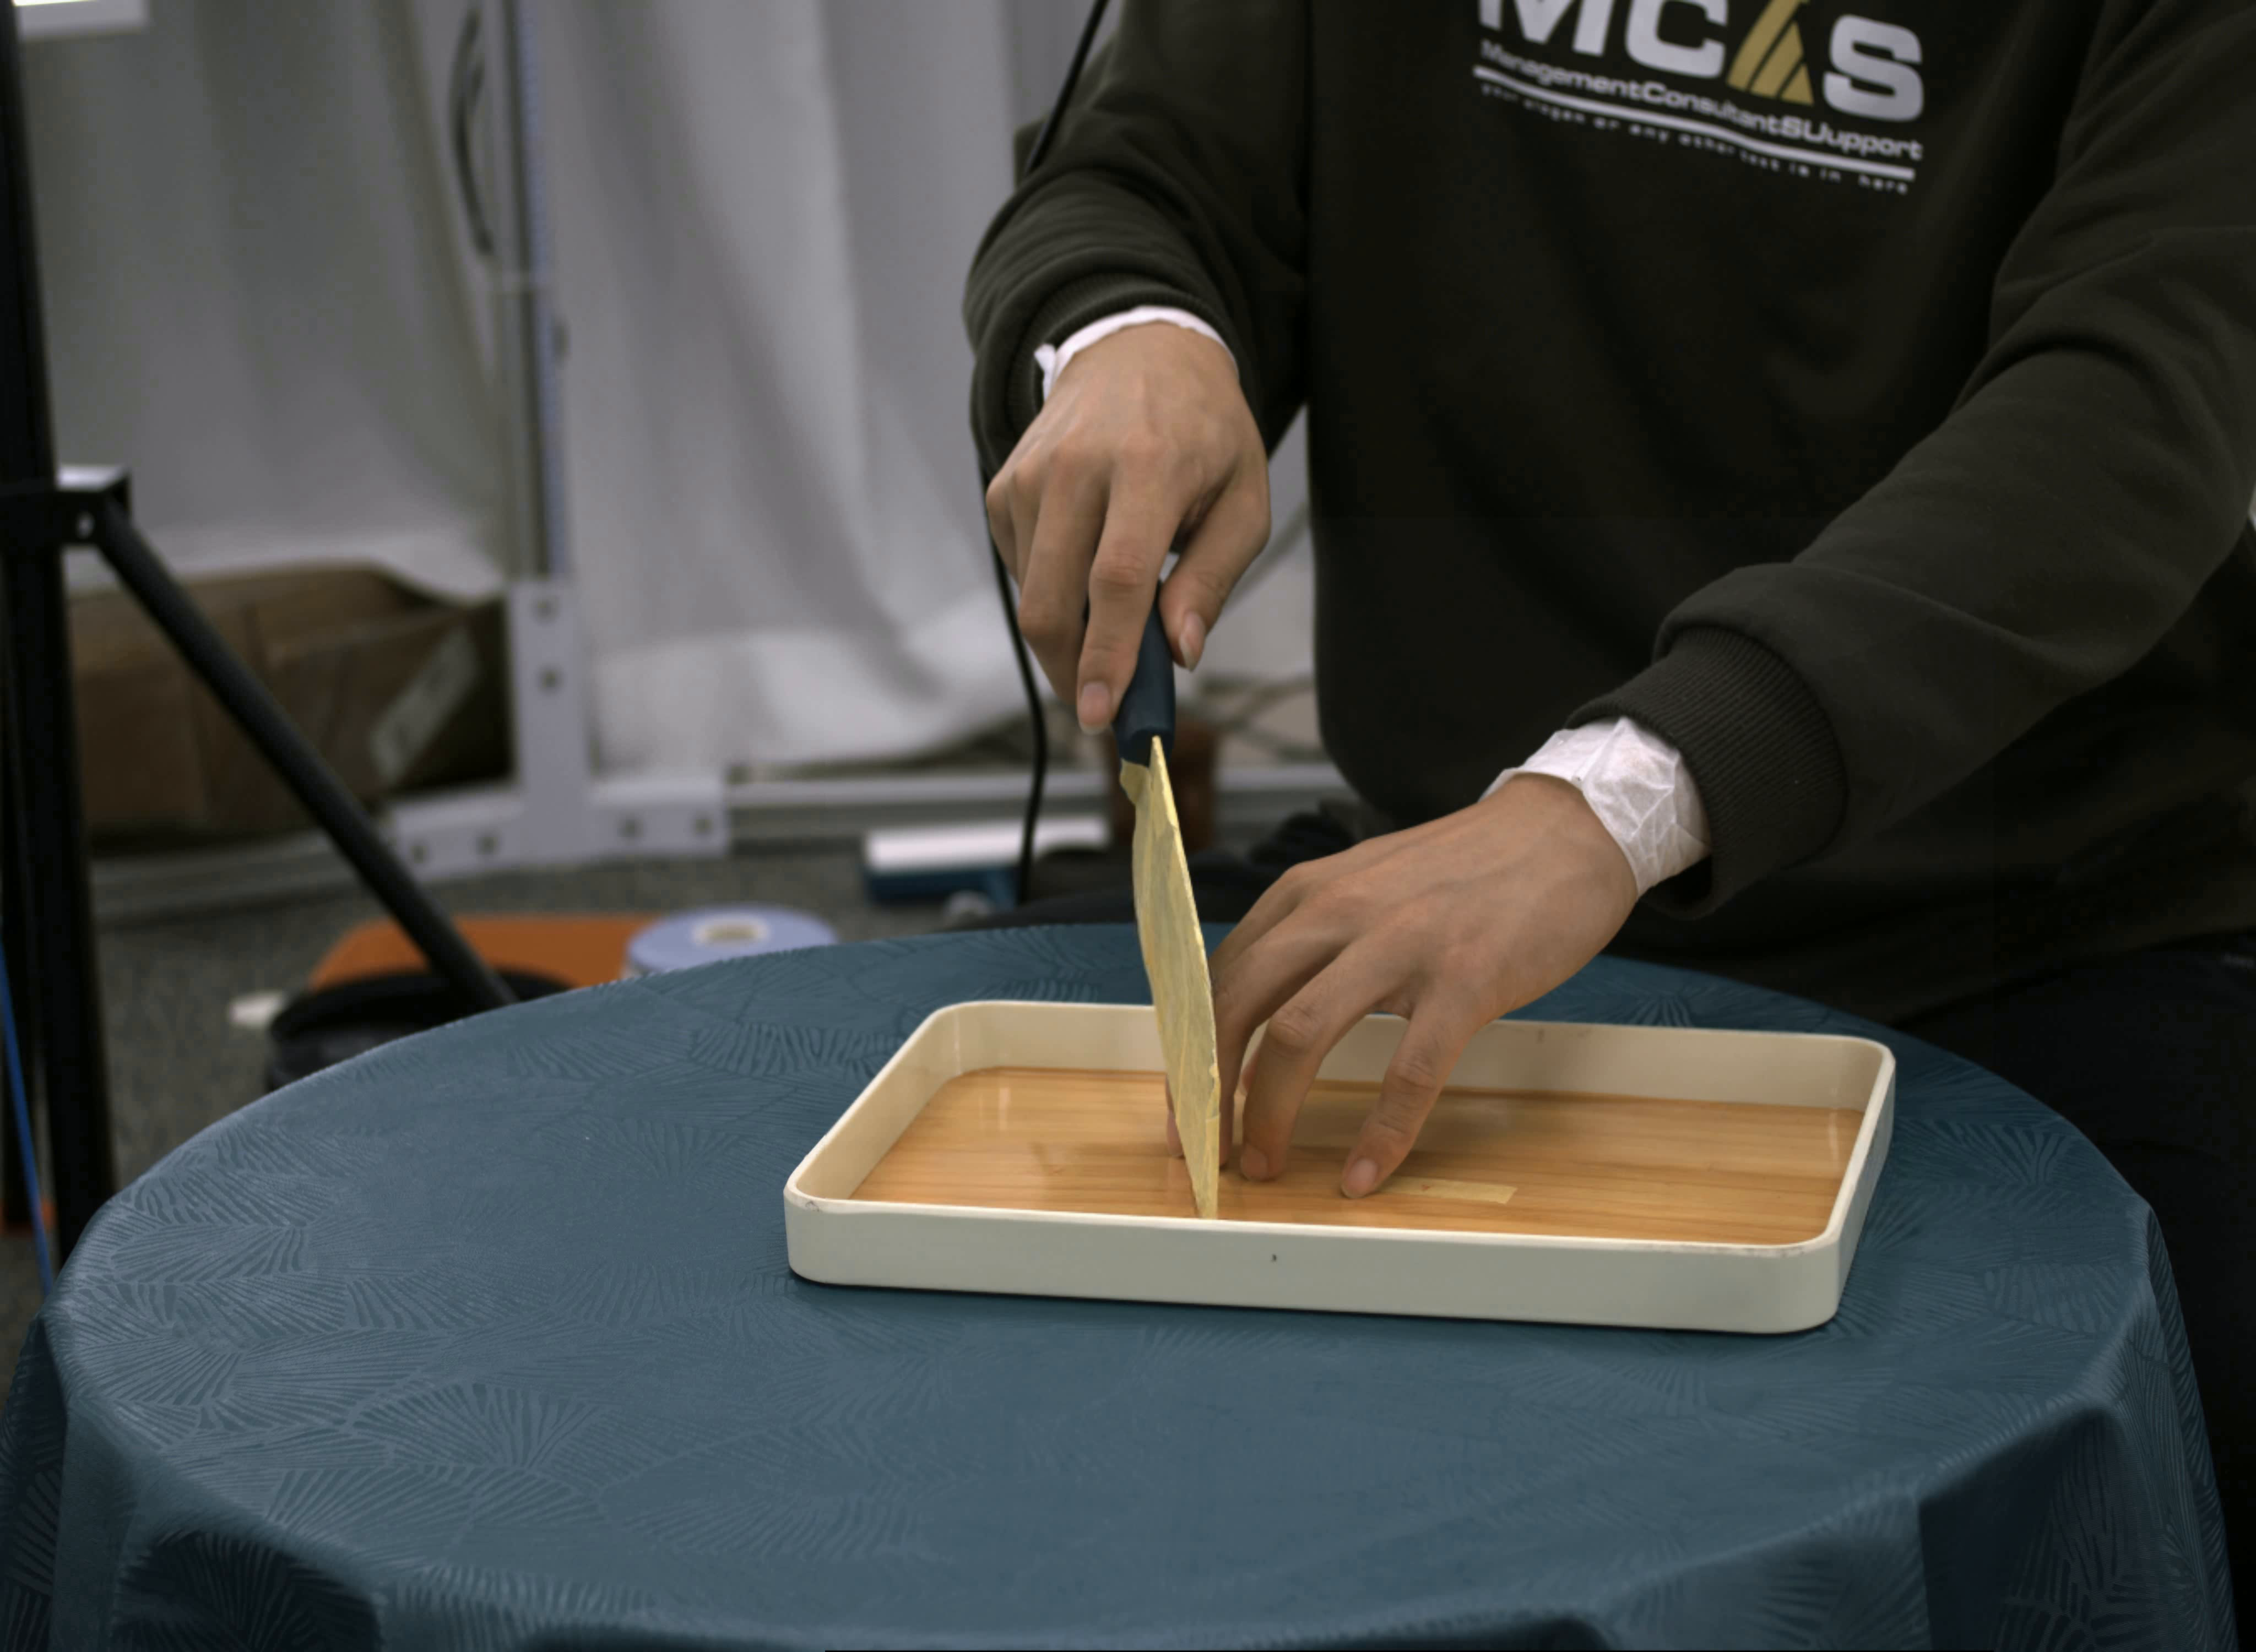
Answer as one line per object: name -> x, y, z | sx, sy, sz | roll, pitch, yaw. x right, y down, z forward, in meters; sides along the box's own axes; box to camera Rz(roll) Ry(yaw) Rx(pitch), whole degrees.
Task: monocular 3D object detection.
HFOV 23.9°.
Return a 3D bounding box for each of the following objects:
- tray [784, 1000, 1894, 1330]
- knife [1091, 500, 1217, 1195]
tray -> 0.066, 0.097, 1.543 | 0.302, 0.027, 0.190 | 2, 15, 15
knife -> 0.009, 0.005, 1.595 | 0.027, 0.081, 0.293 | 2, 42, -8
